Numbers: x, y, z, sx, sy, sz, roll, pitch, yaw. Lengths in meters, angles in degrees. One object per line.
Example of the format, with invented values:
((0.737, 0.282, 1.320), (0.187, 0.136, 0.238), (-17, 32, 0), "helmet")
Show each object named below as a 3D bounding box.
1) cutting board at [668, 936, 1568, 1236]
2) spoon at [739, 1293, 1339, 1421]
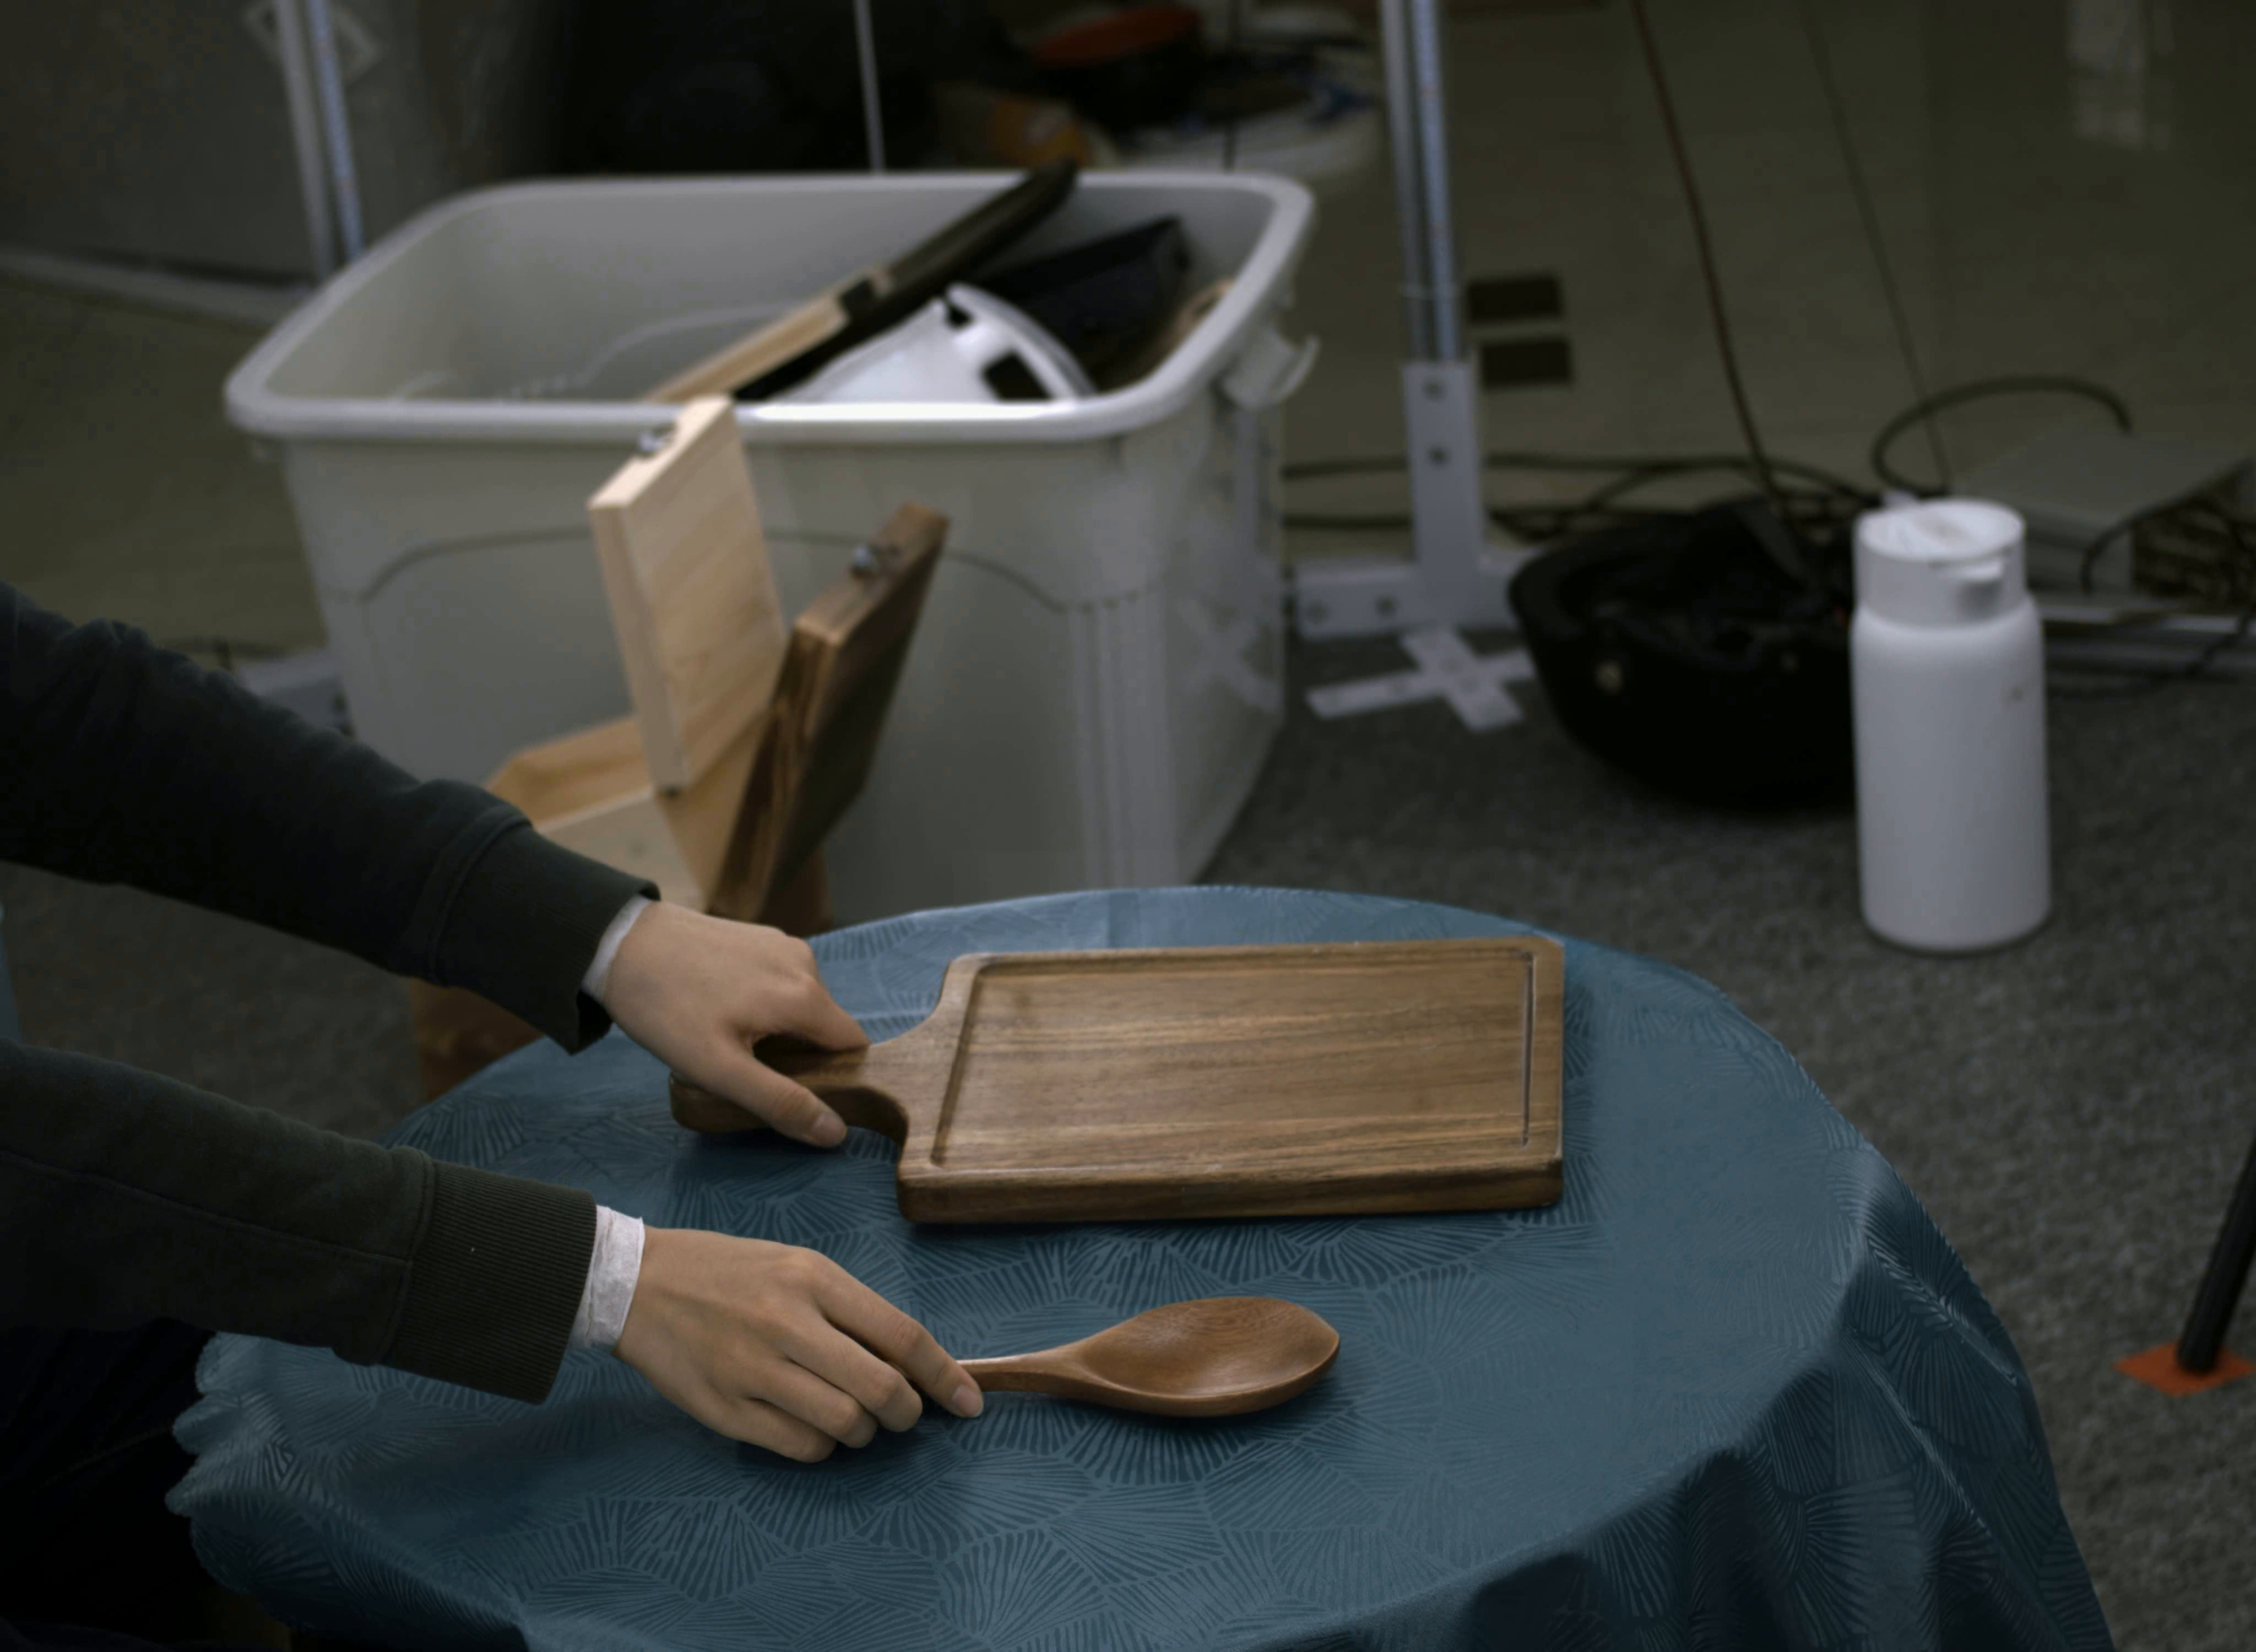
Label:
((-0.005, 0.100, 2.205), (0.351, 0.023, 0.198), (-2, 26, 6), "cutting board")
((-0.032, 0.194, 2.020), (0.215, 0.017, 0.074), (-3, 27, 5), "spoon")
